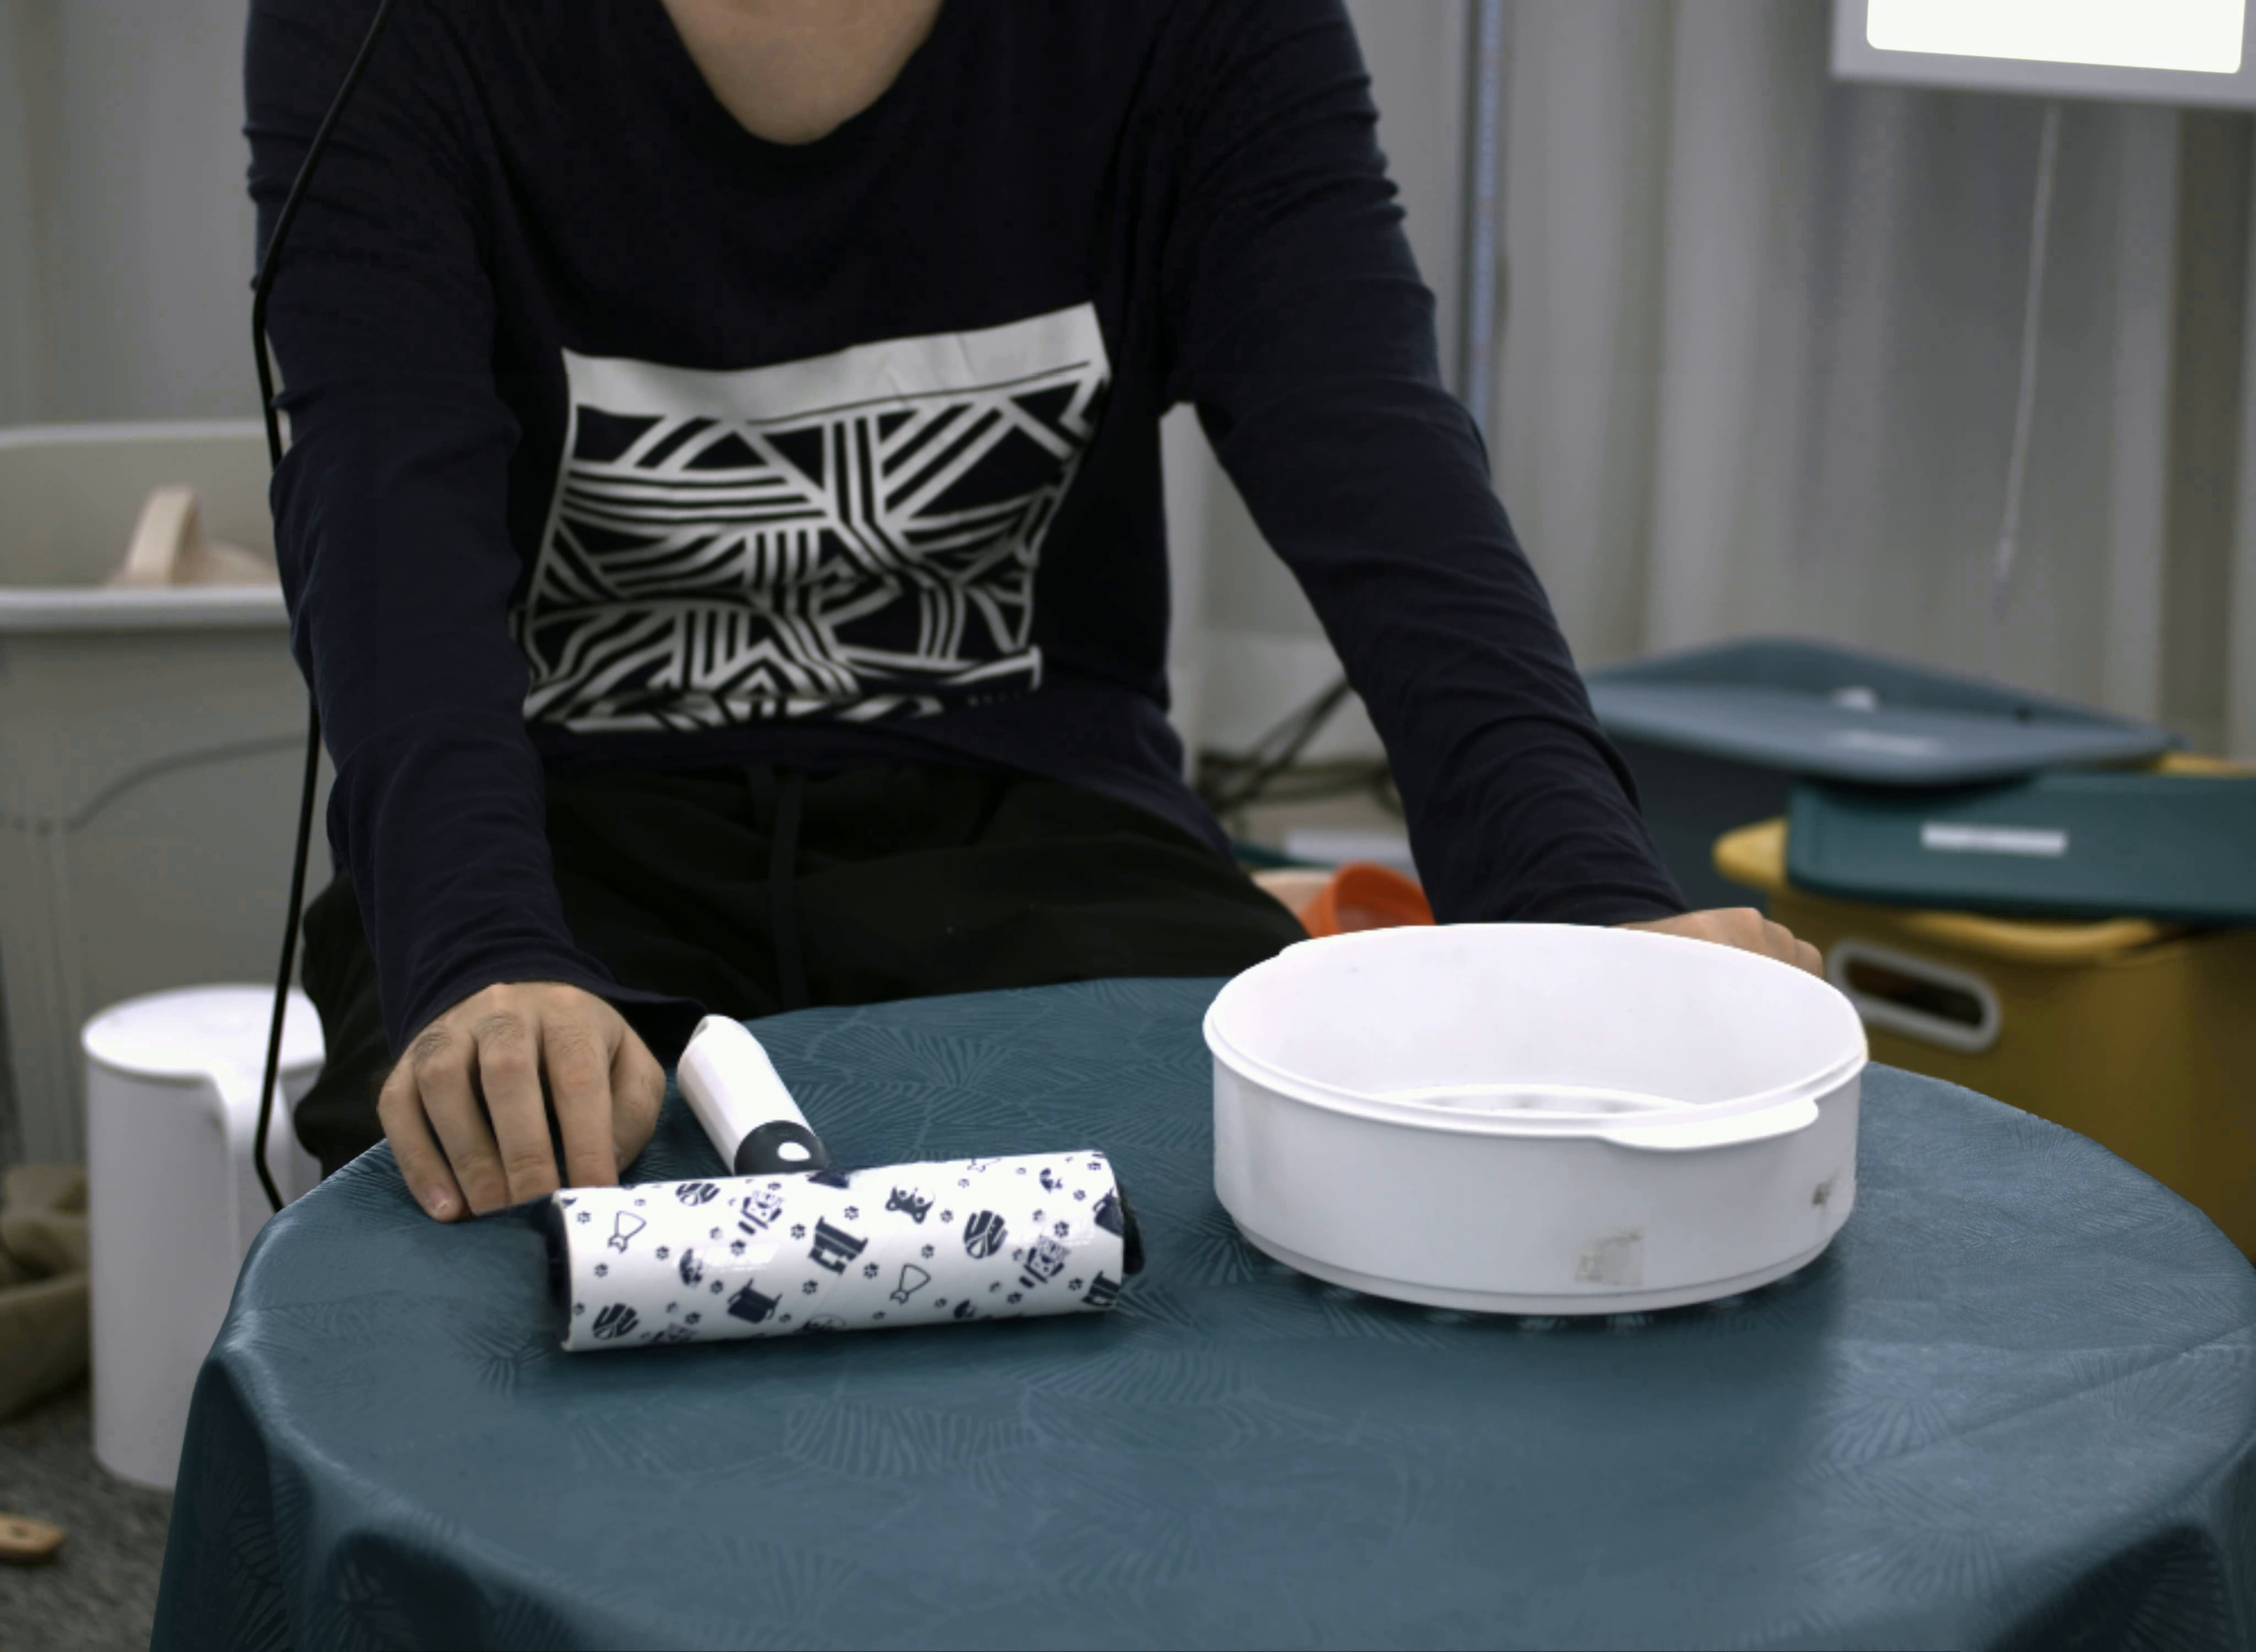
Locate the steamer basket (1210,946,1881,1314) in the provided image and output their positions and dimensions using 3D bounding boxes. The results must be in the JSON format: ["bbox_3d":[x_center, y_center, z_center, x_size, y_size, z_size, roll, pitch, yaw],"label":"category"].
[{"bbox_3d":[0.125,0.091,1.587,0.203,0.070,0.228,-6,14,-26],"label":"steamer basket"}]

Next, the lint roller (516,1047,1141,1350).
[{"bbox_3d":[-0.110,0.099,1.597,0.176,0.051,0.245,-4,13,-14],"label":"lint roller"}]
